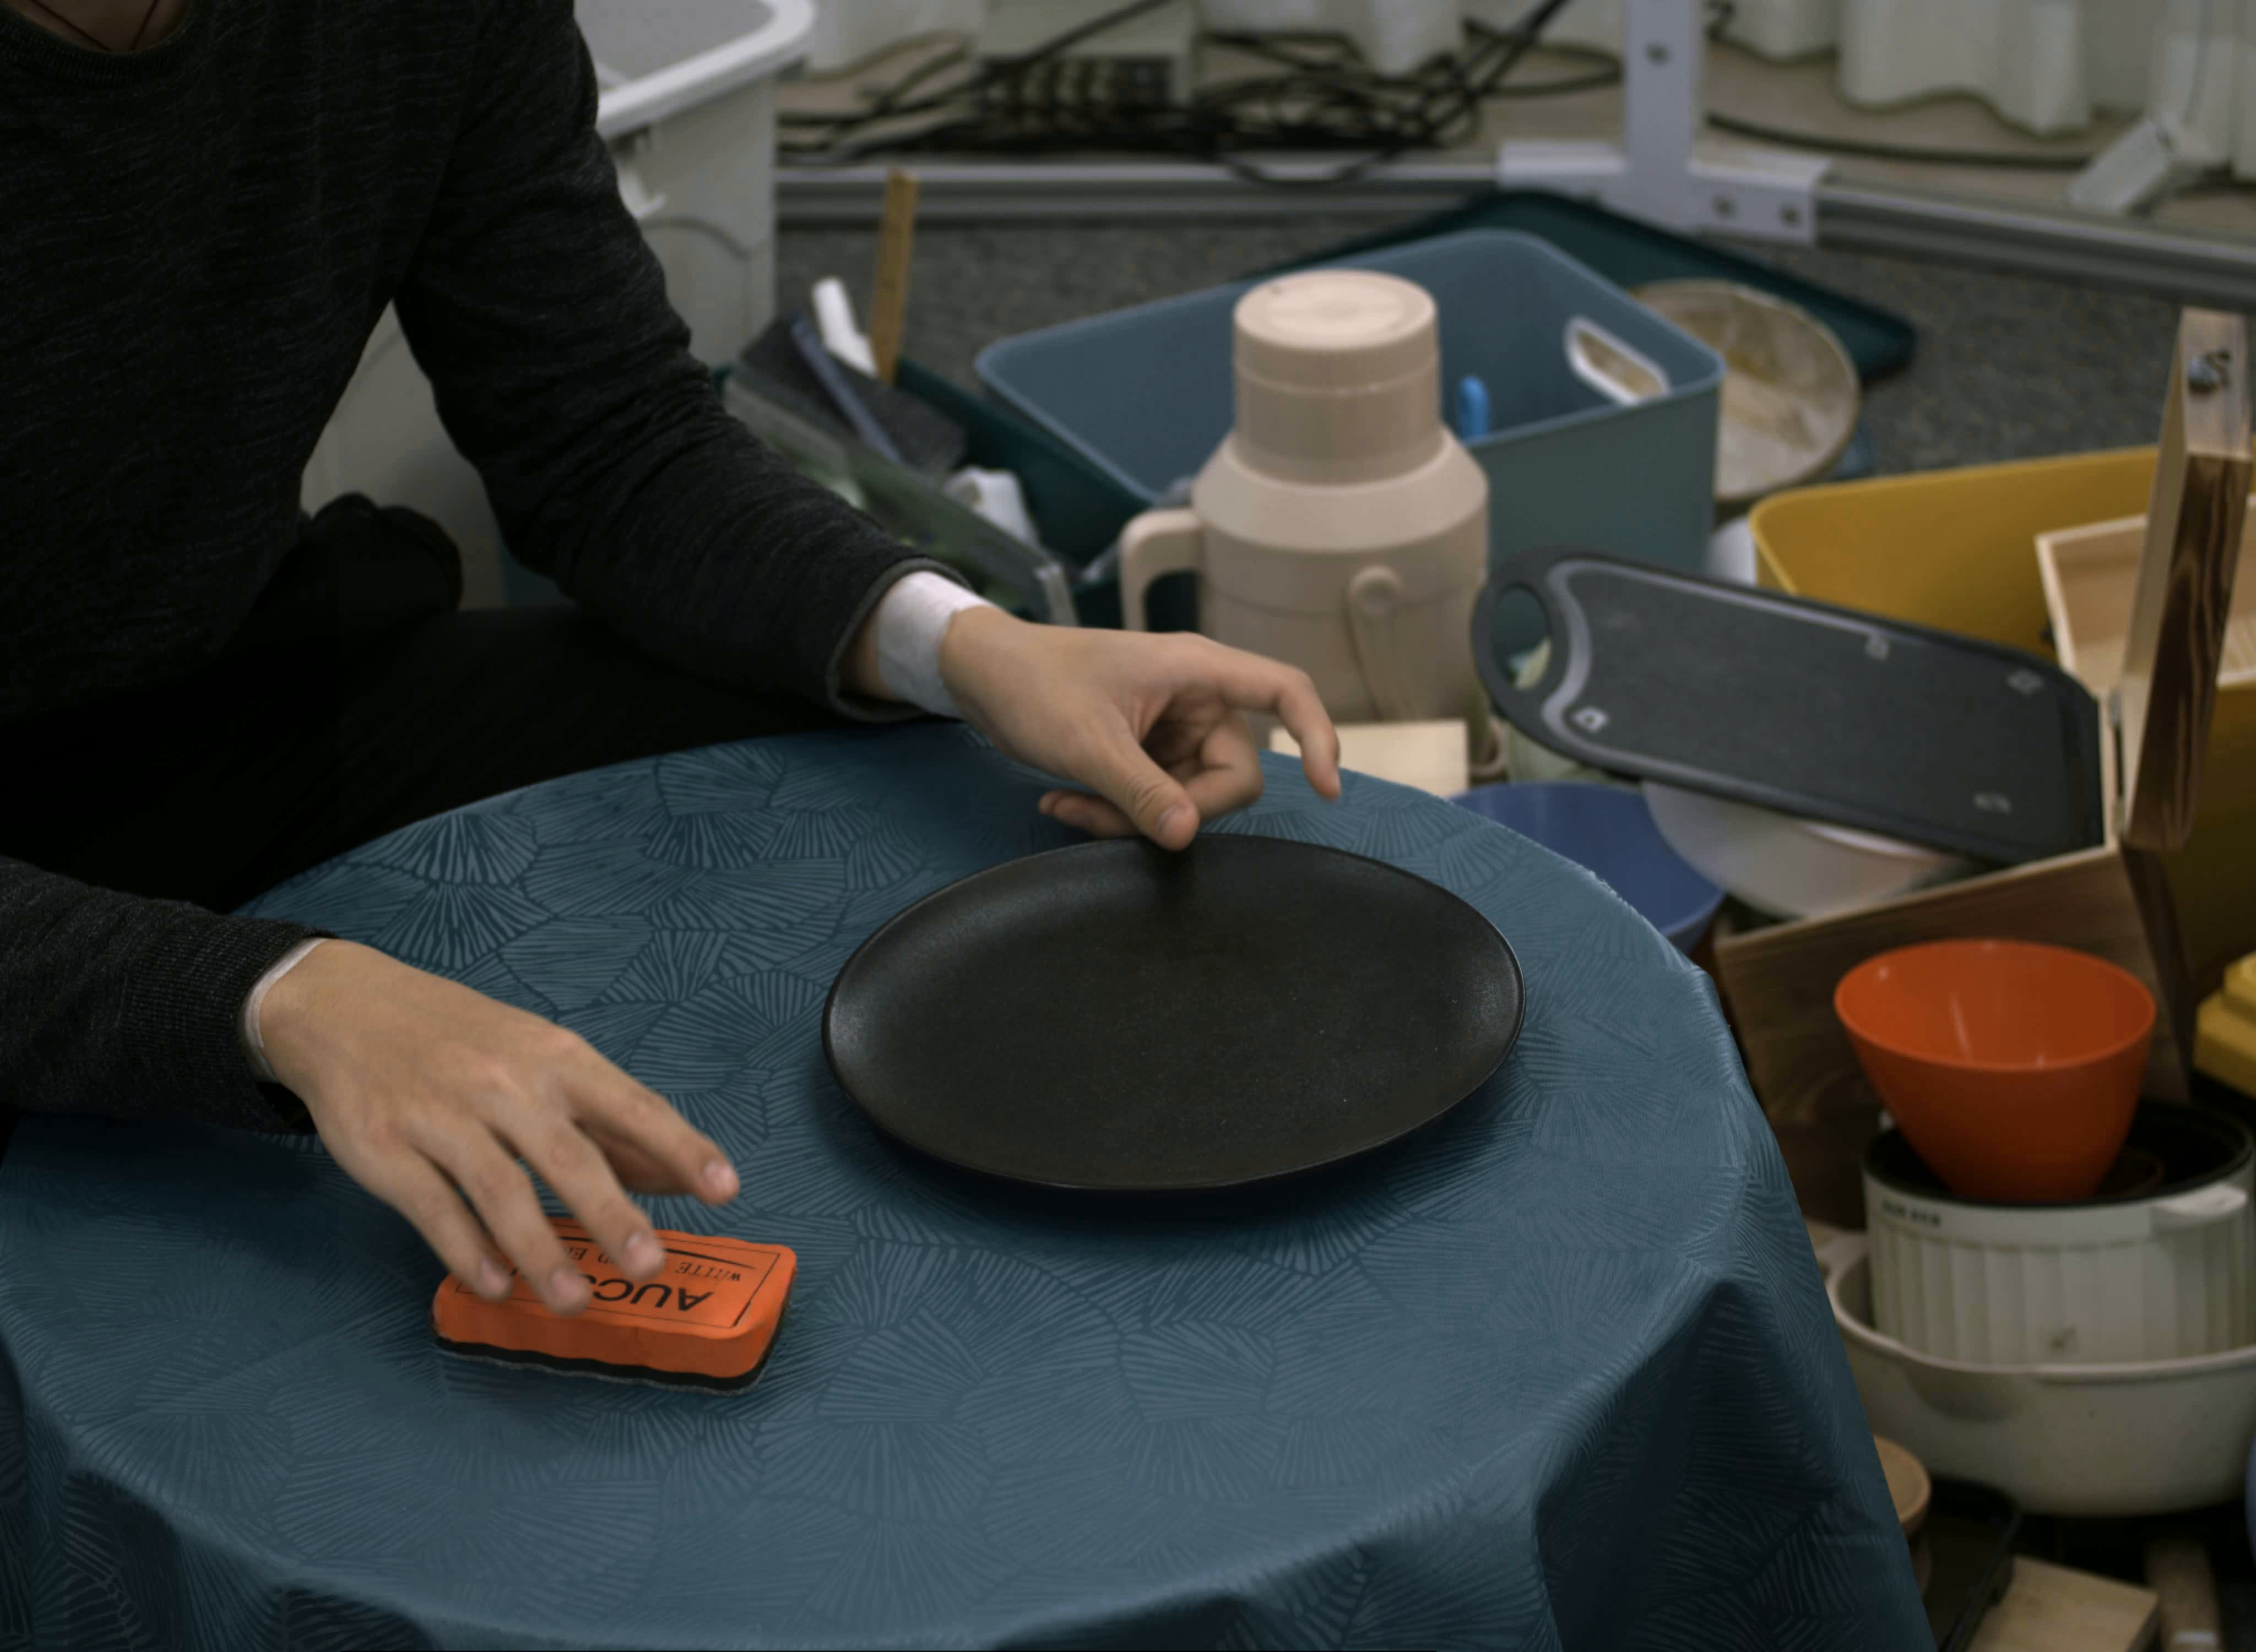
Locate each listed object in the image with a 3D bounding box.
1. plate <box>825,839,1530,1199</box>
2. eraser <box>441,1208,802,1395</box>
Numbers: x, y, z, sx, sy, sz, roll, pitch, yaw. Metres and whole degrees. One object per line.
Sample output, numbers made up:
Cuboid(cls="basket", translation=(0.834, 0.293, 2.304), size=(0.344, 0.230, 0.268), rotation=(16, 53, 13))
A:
Cuboid(cls="plate", translation=(0.017, 0.070, 1.934), size=(0.243, 0.023, 0.248), rotation=(-2, 27, 2))
Cuboid(cls="eraser", translation=(-0.161, 0.152, 1.793), size=(0.107, 0.022, 0.060), rotation=(7, 28, 18))
